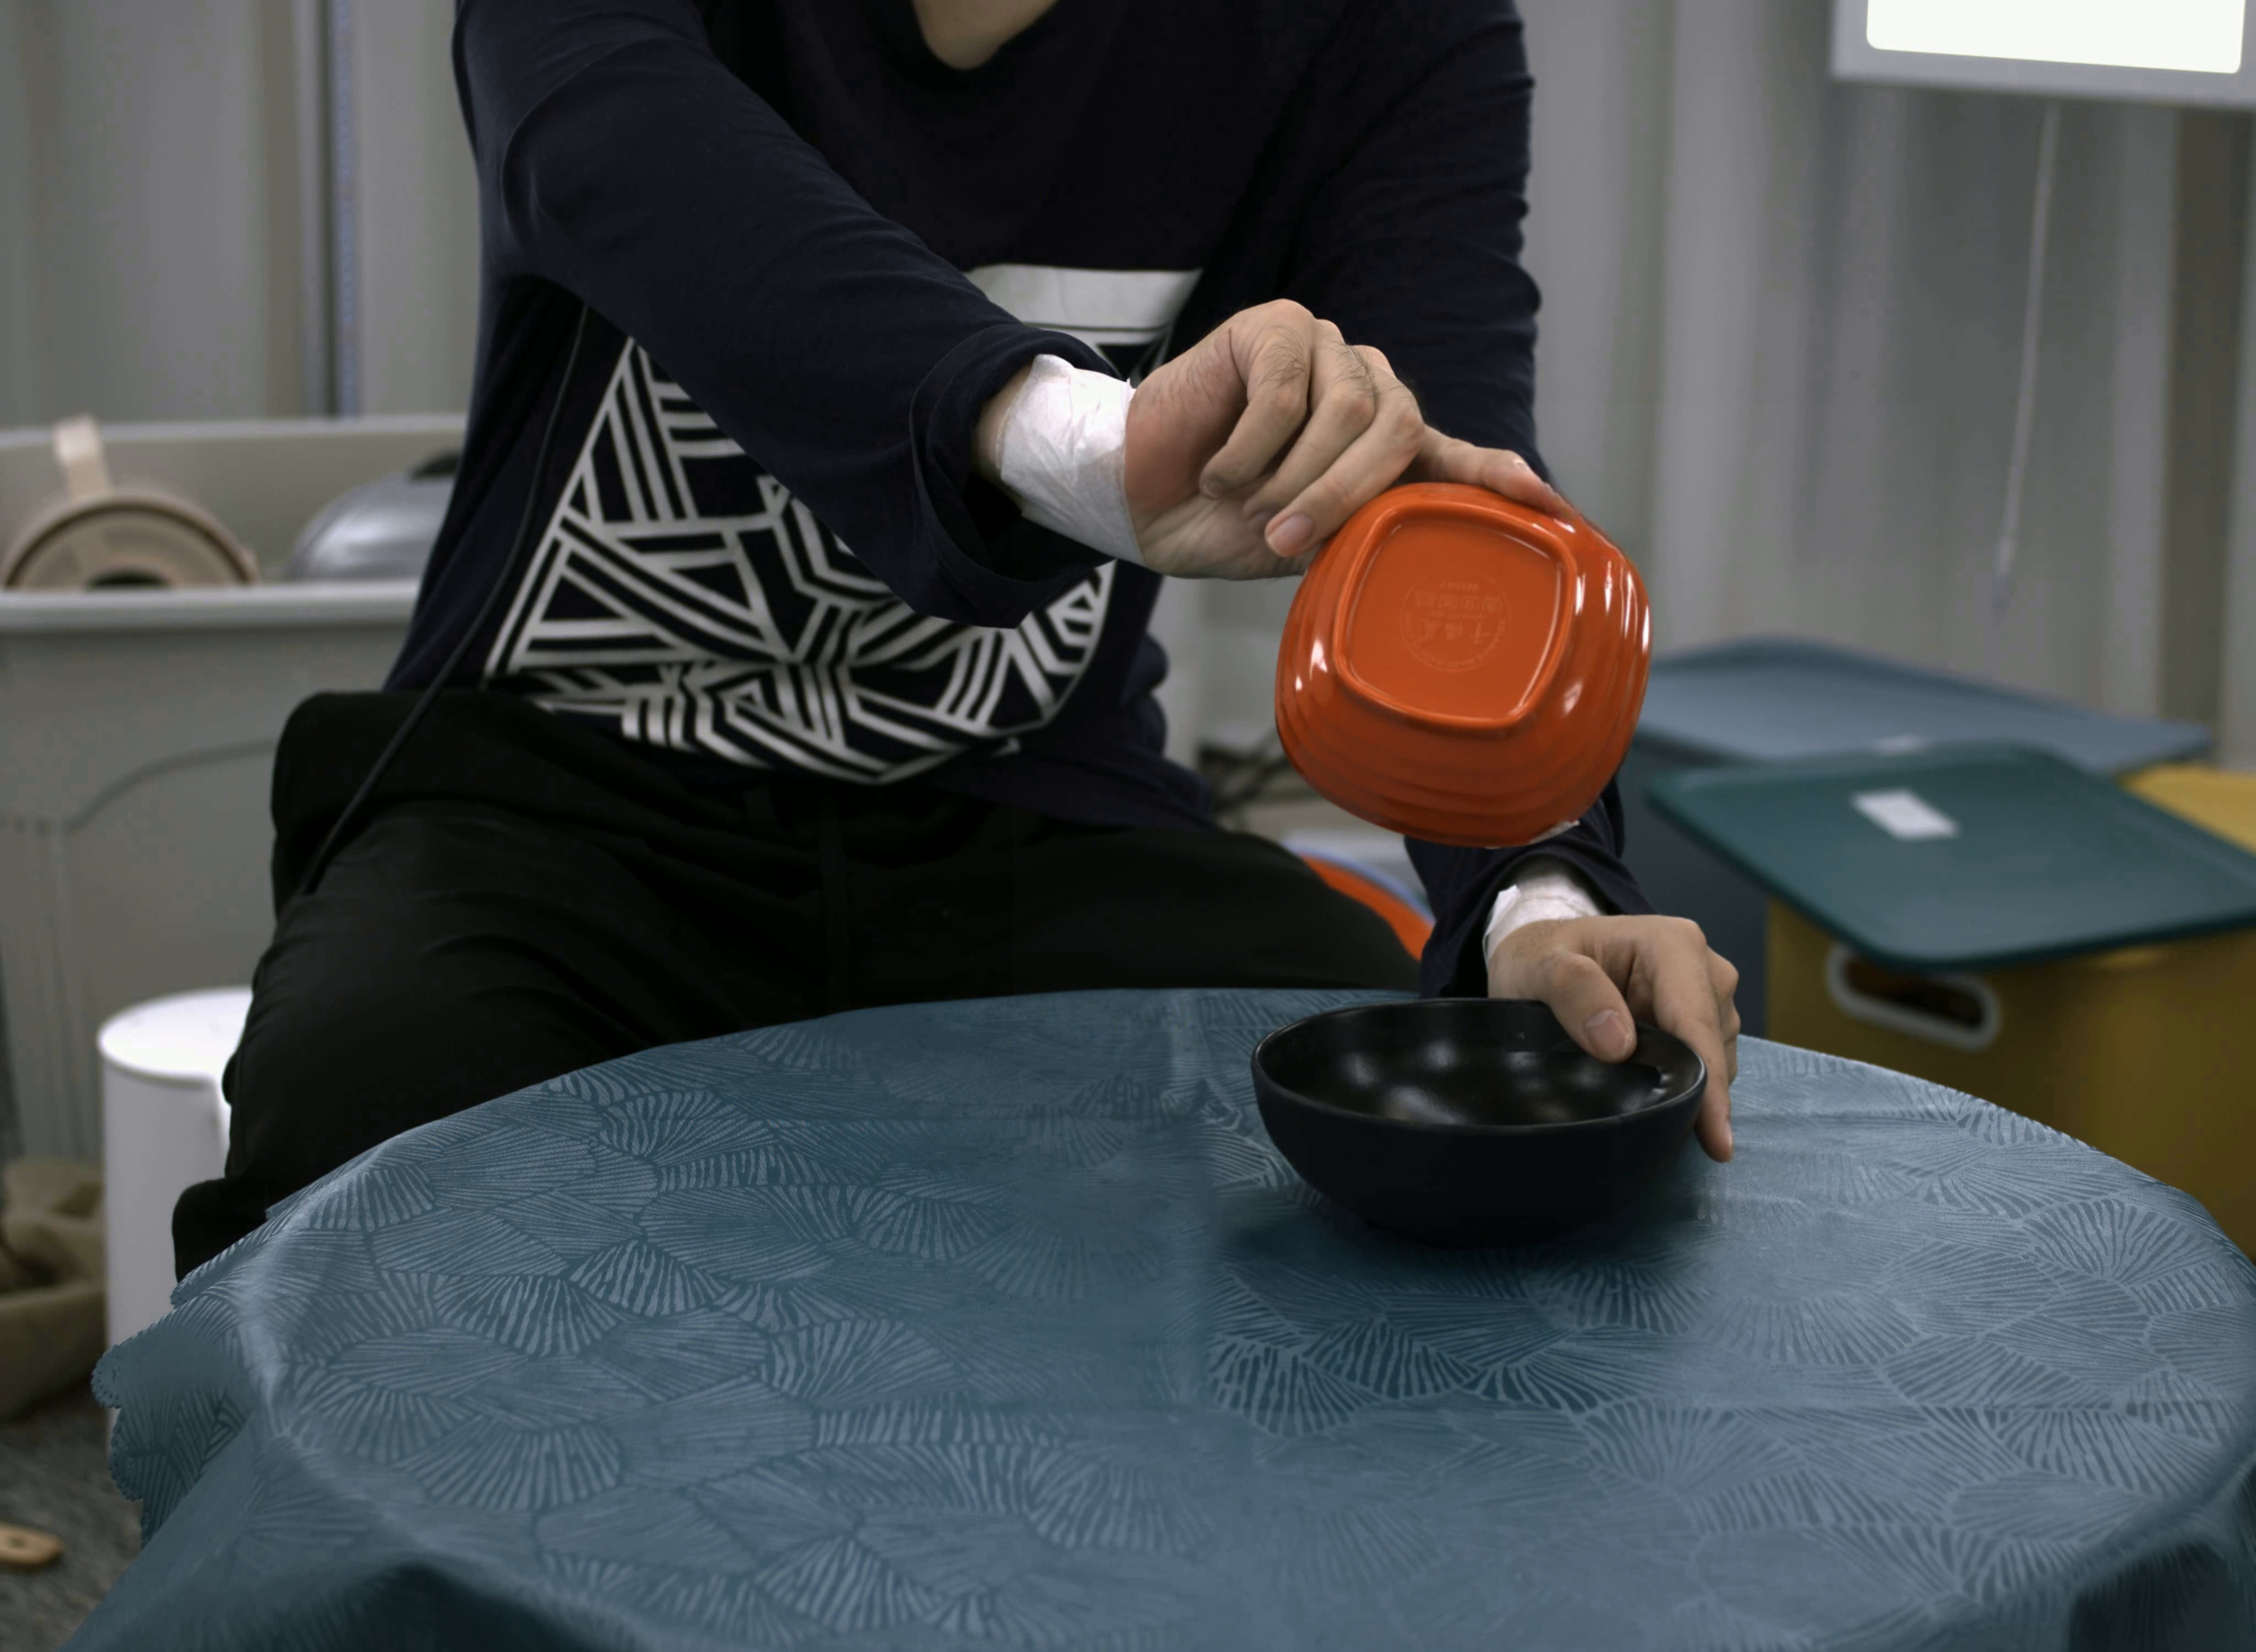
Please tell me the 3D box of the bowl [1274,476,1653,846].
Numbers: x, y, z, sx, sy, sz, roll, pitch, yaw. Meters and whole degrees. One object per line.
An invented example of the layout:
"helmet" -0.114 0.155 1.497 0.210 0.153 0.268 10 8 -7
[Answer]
"bowl" 0.096 -0.056 1.544 0.118 0.118 0.052 4 -16 9

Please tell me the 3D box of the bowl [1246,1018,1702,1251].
"bowl" 0.105 0.097 1.601 0.139 0.050 0.139 0 10 1
